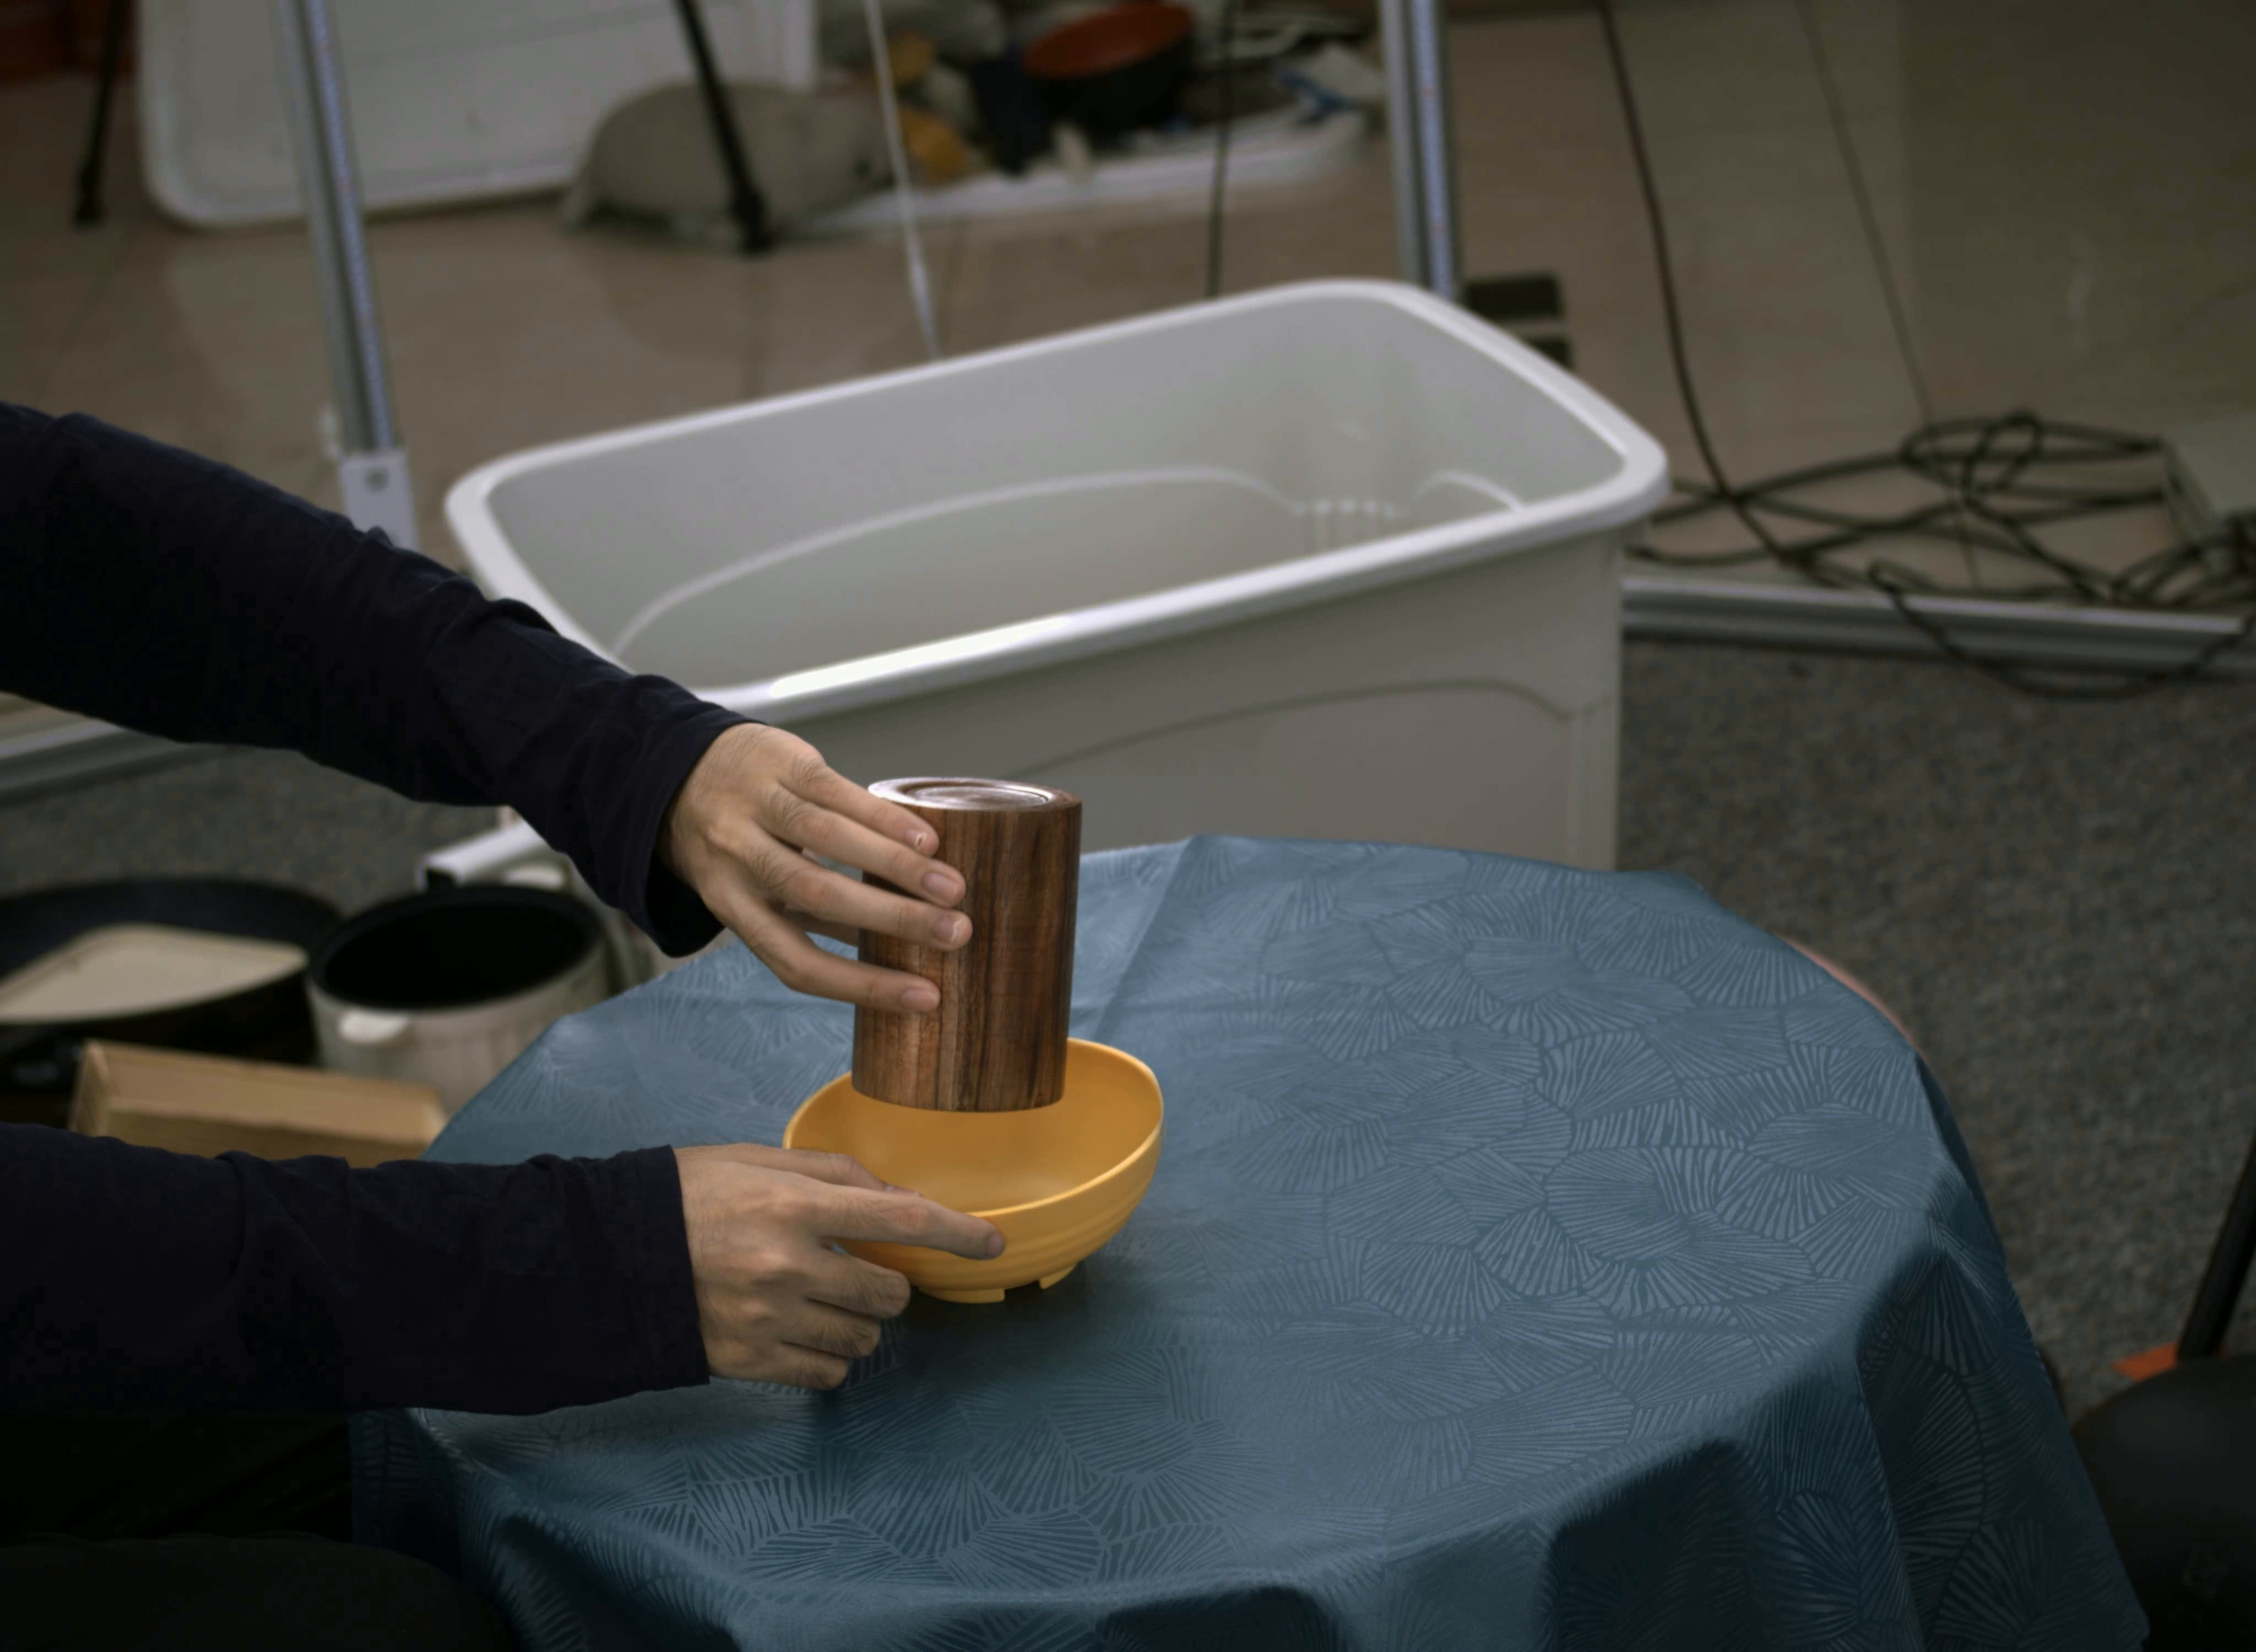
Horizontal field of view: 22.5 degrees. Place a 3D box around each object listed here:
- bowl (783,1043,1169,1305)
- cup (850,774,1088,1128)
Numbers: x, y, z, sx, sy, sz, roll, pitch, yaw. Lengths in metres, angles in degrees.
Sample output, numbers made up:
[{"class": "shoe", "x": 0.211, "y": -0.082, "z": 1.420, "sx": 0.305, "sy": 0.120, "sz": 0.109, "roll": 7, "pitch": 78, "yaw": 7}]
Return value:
[{"class": "bowl", "x": -0.052, "y": 0.136, "z": 2.097, "sx": 0.145, "sy": 0.061, "sz": 0.143, "roll": -6, "pitch": 24, "yaw": 3}, {"class": "cup", "x": -0.058, "y": 0.045, "z": 2.074, "sx": 0.087, "sy": 0.119, "sz": 0.087, "roll": 5, "pitch": 10, "yaw": -1}]
